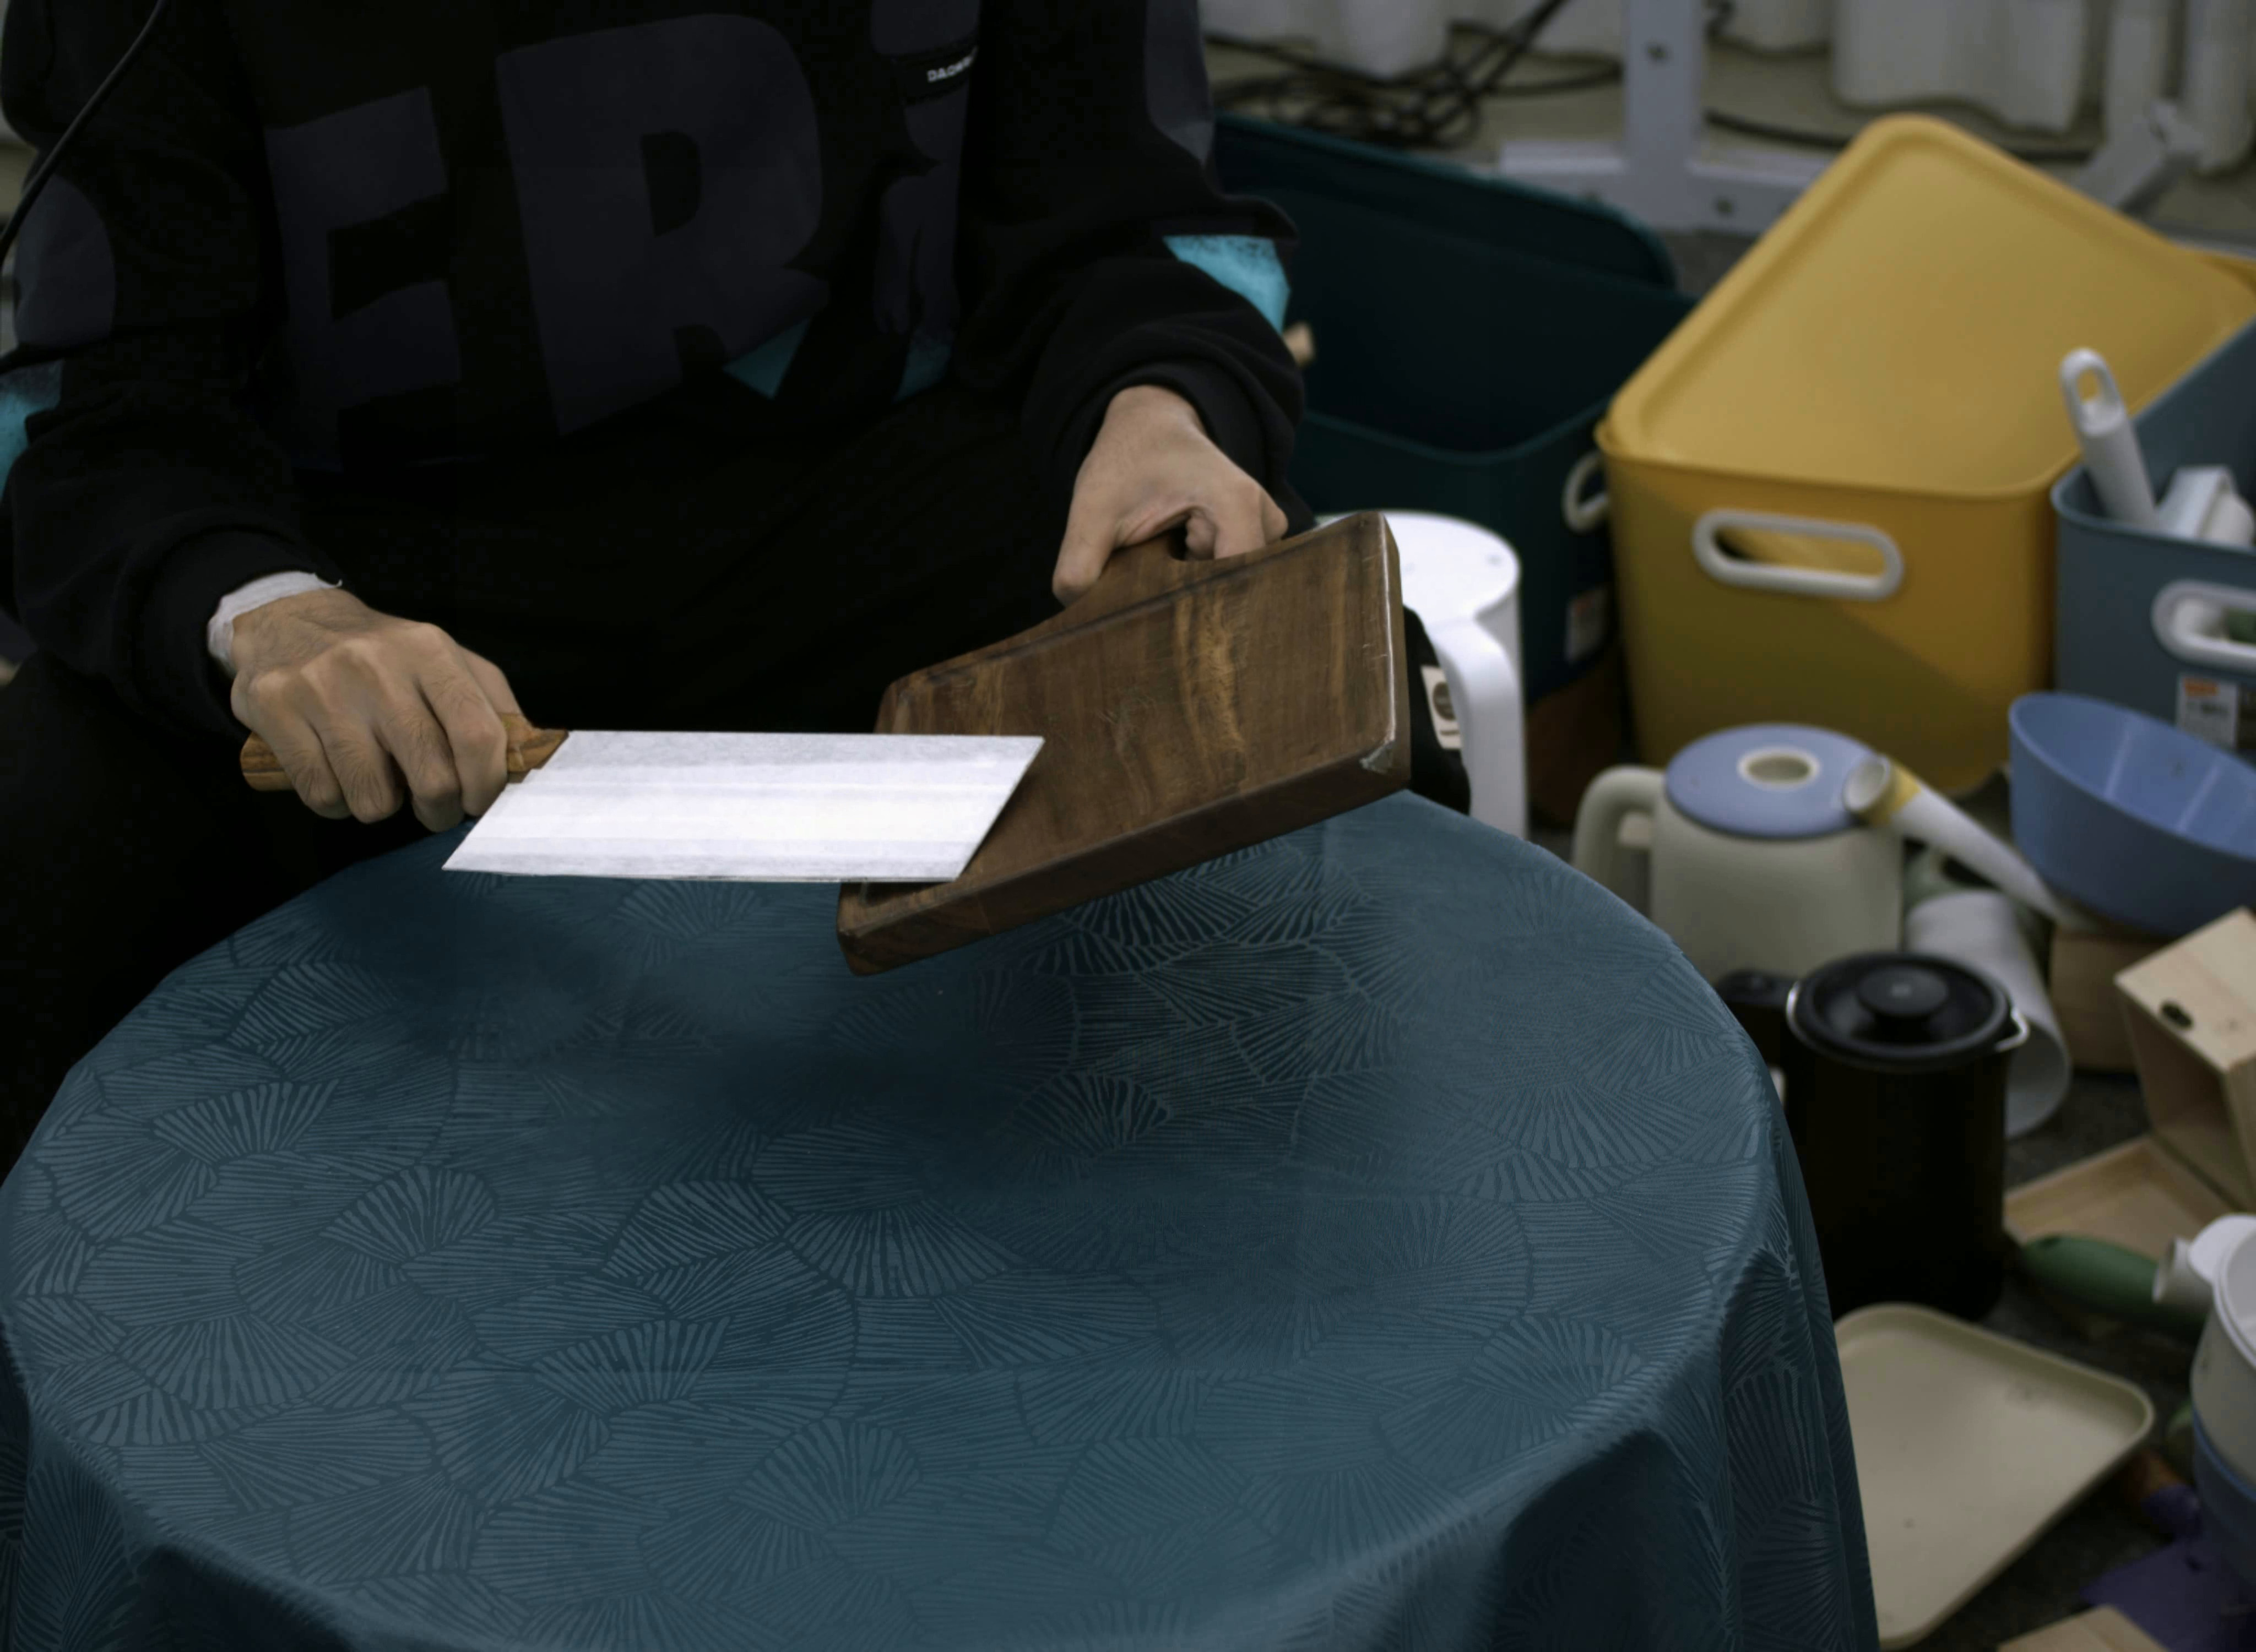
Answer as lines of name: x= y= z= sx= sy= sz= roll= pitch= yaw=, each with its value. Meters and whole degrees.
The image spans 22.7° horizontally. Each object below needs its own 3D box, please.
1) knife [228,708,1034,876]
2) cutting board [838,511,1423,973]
knife: x=-0.182 y=-0.010 z=1.917 sx=0.303 sy=0.021 sz=0.094 roll=1 pitch=32 yaw=21
cutting board: x=0.001 y=-0.049 z=1.963 sx=0.200 sy=0.023 sz=0.356 roll=-19 pitch=18 yaw=7
